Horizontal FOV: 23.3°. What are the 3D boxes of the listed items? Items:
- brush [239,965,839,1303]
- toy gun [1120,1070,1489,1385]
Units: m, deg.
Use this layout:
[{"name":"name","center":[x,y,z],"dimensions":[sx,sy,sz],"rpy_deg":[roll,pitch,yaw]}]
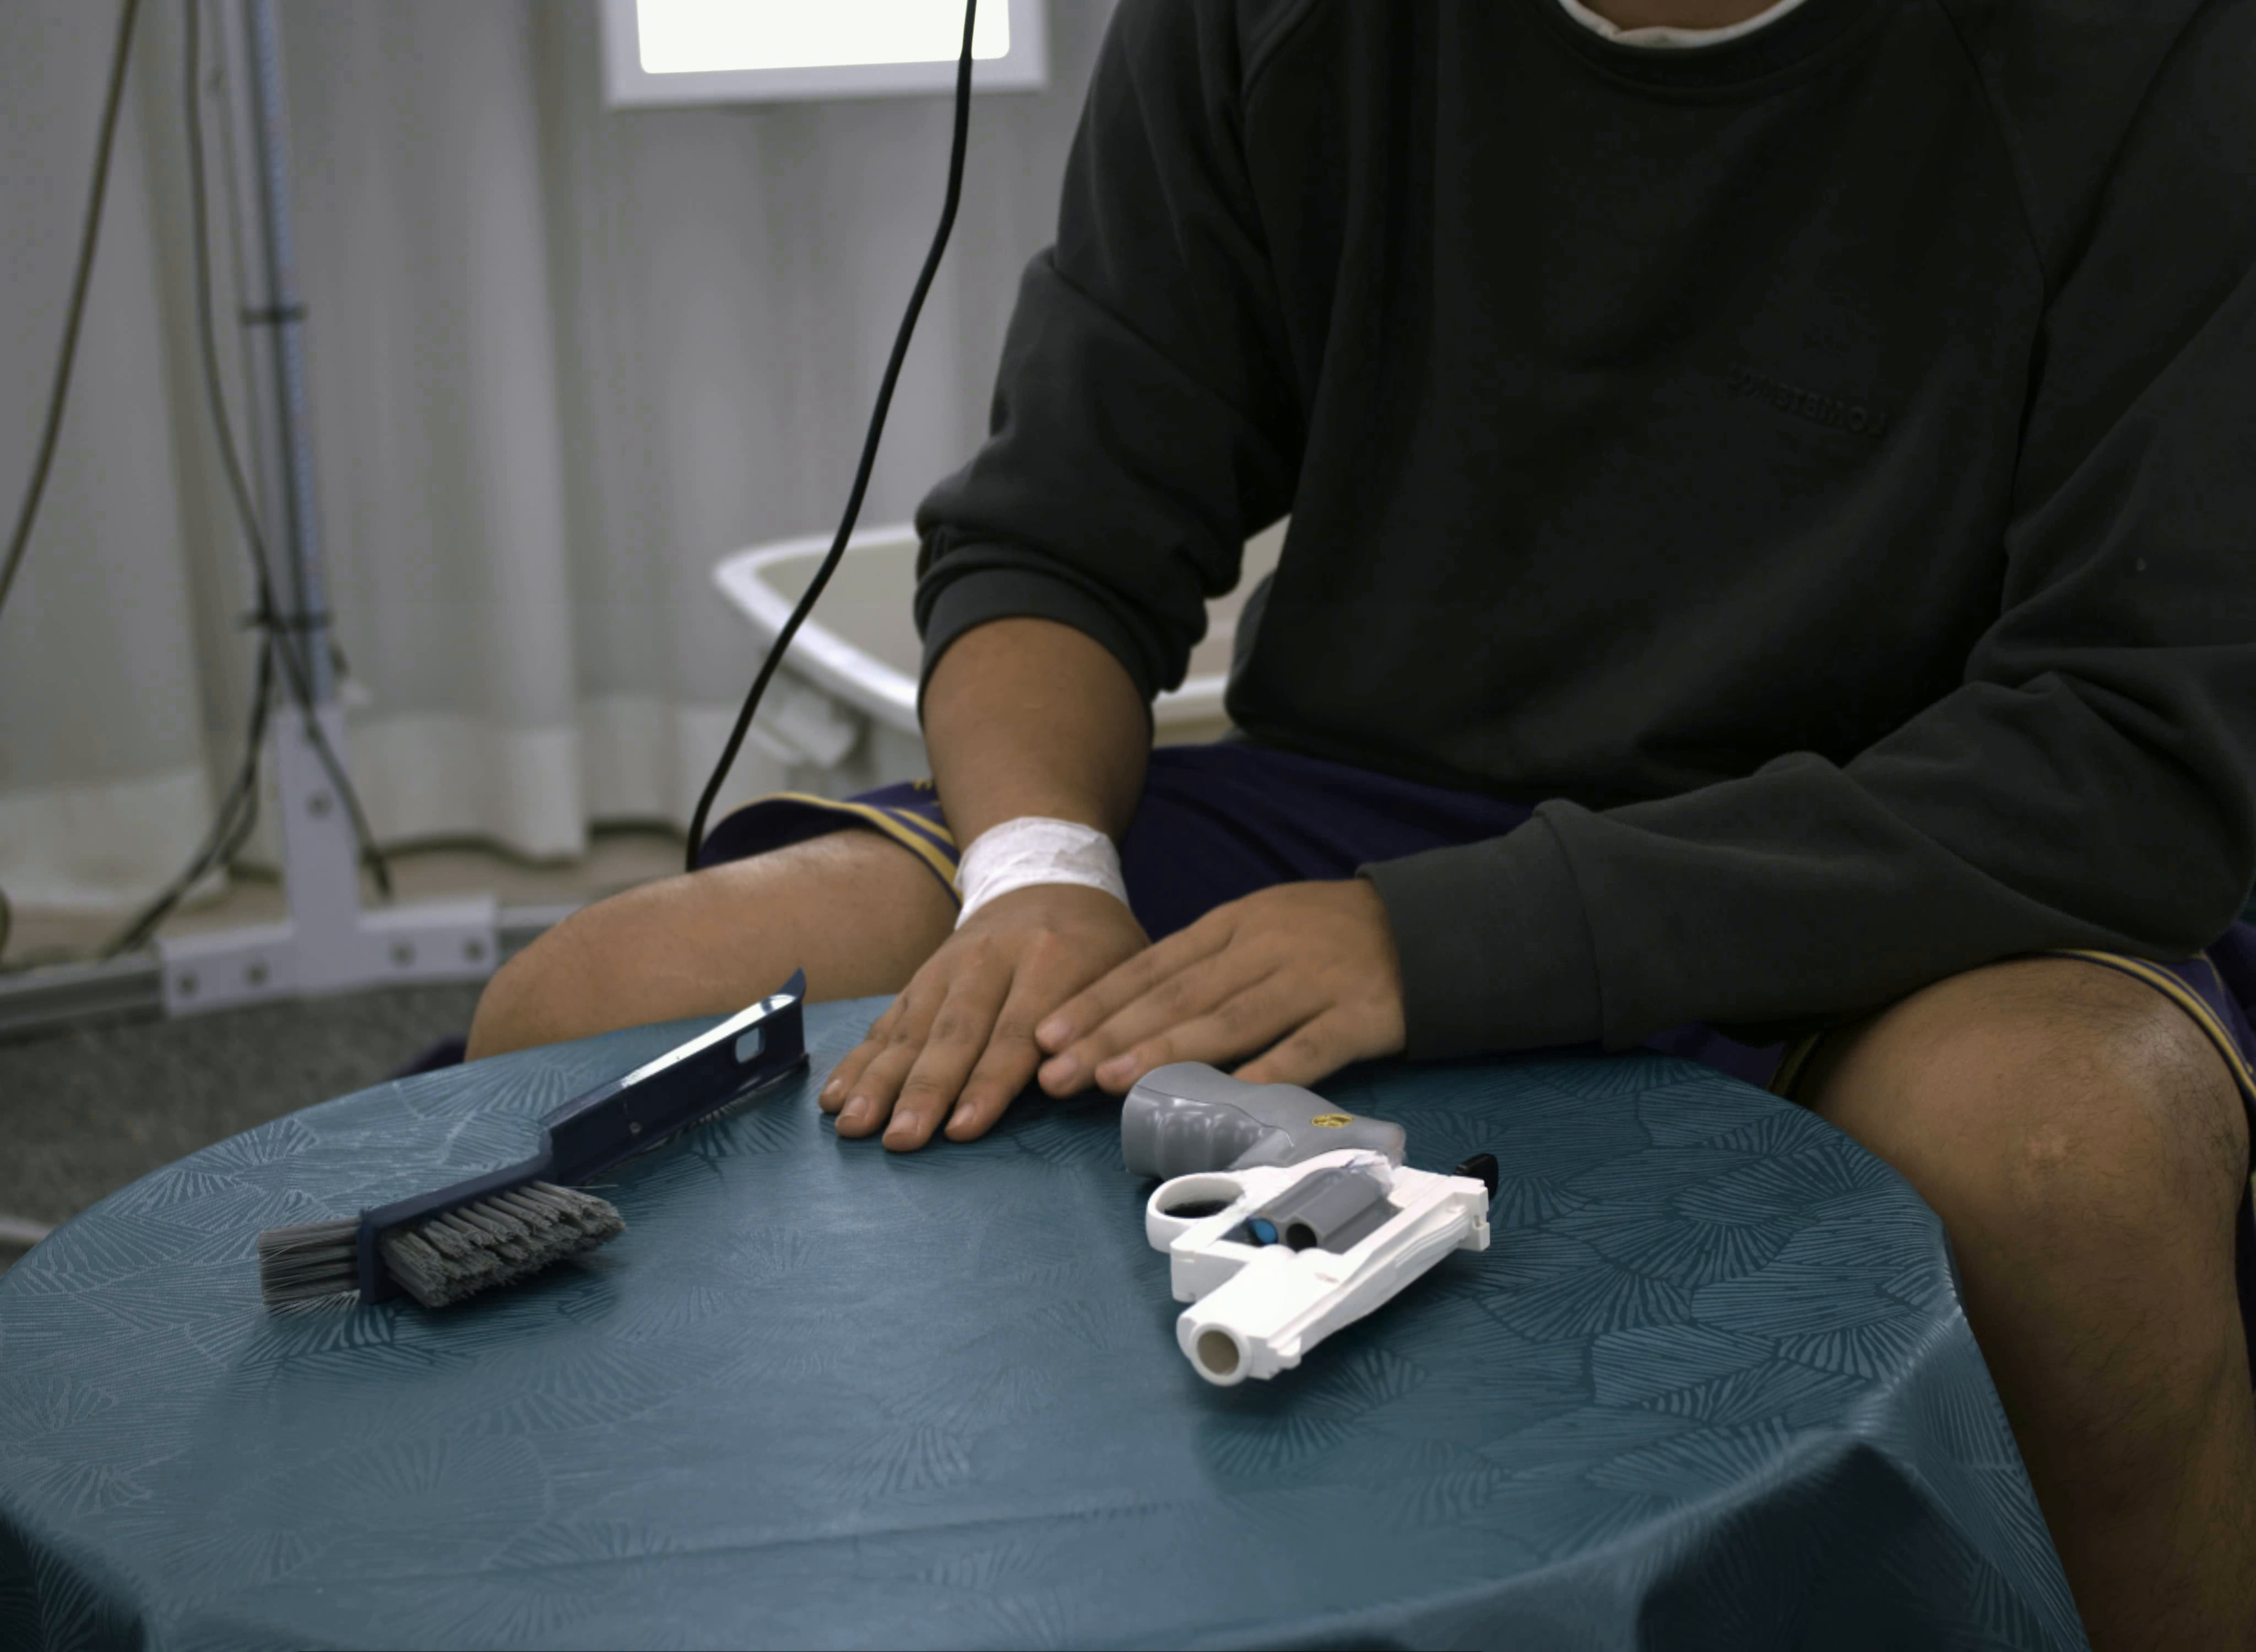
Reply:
[{"name":"brush","center":[-0.177,0.098,1.753],"dimensions":[0.096,0.033,0.274],"rpy_deg":[3,17,21]},{"name":"toy gun","center":[0.032,0.118,1.626],"dimensions":[0.142,0.038,0.209],"rpy_deg":[4,16,27]}]
